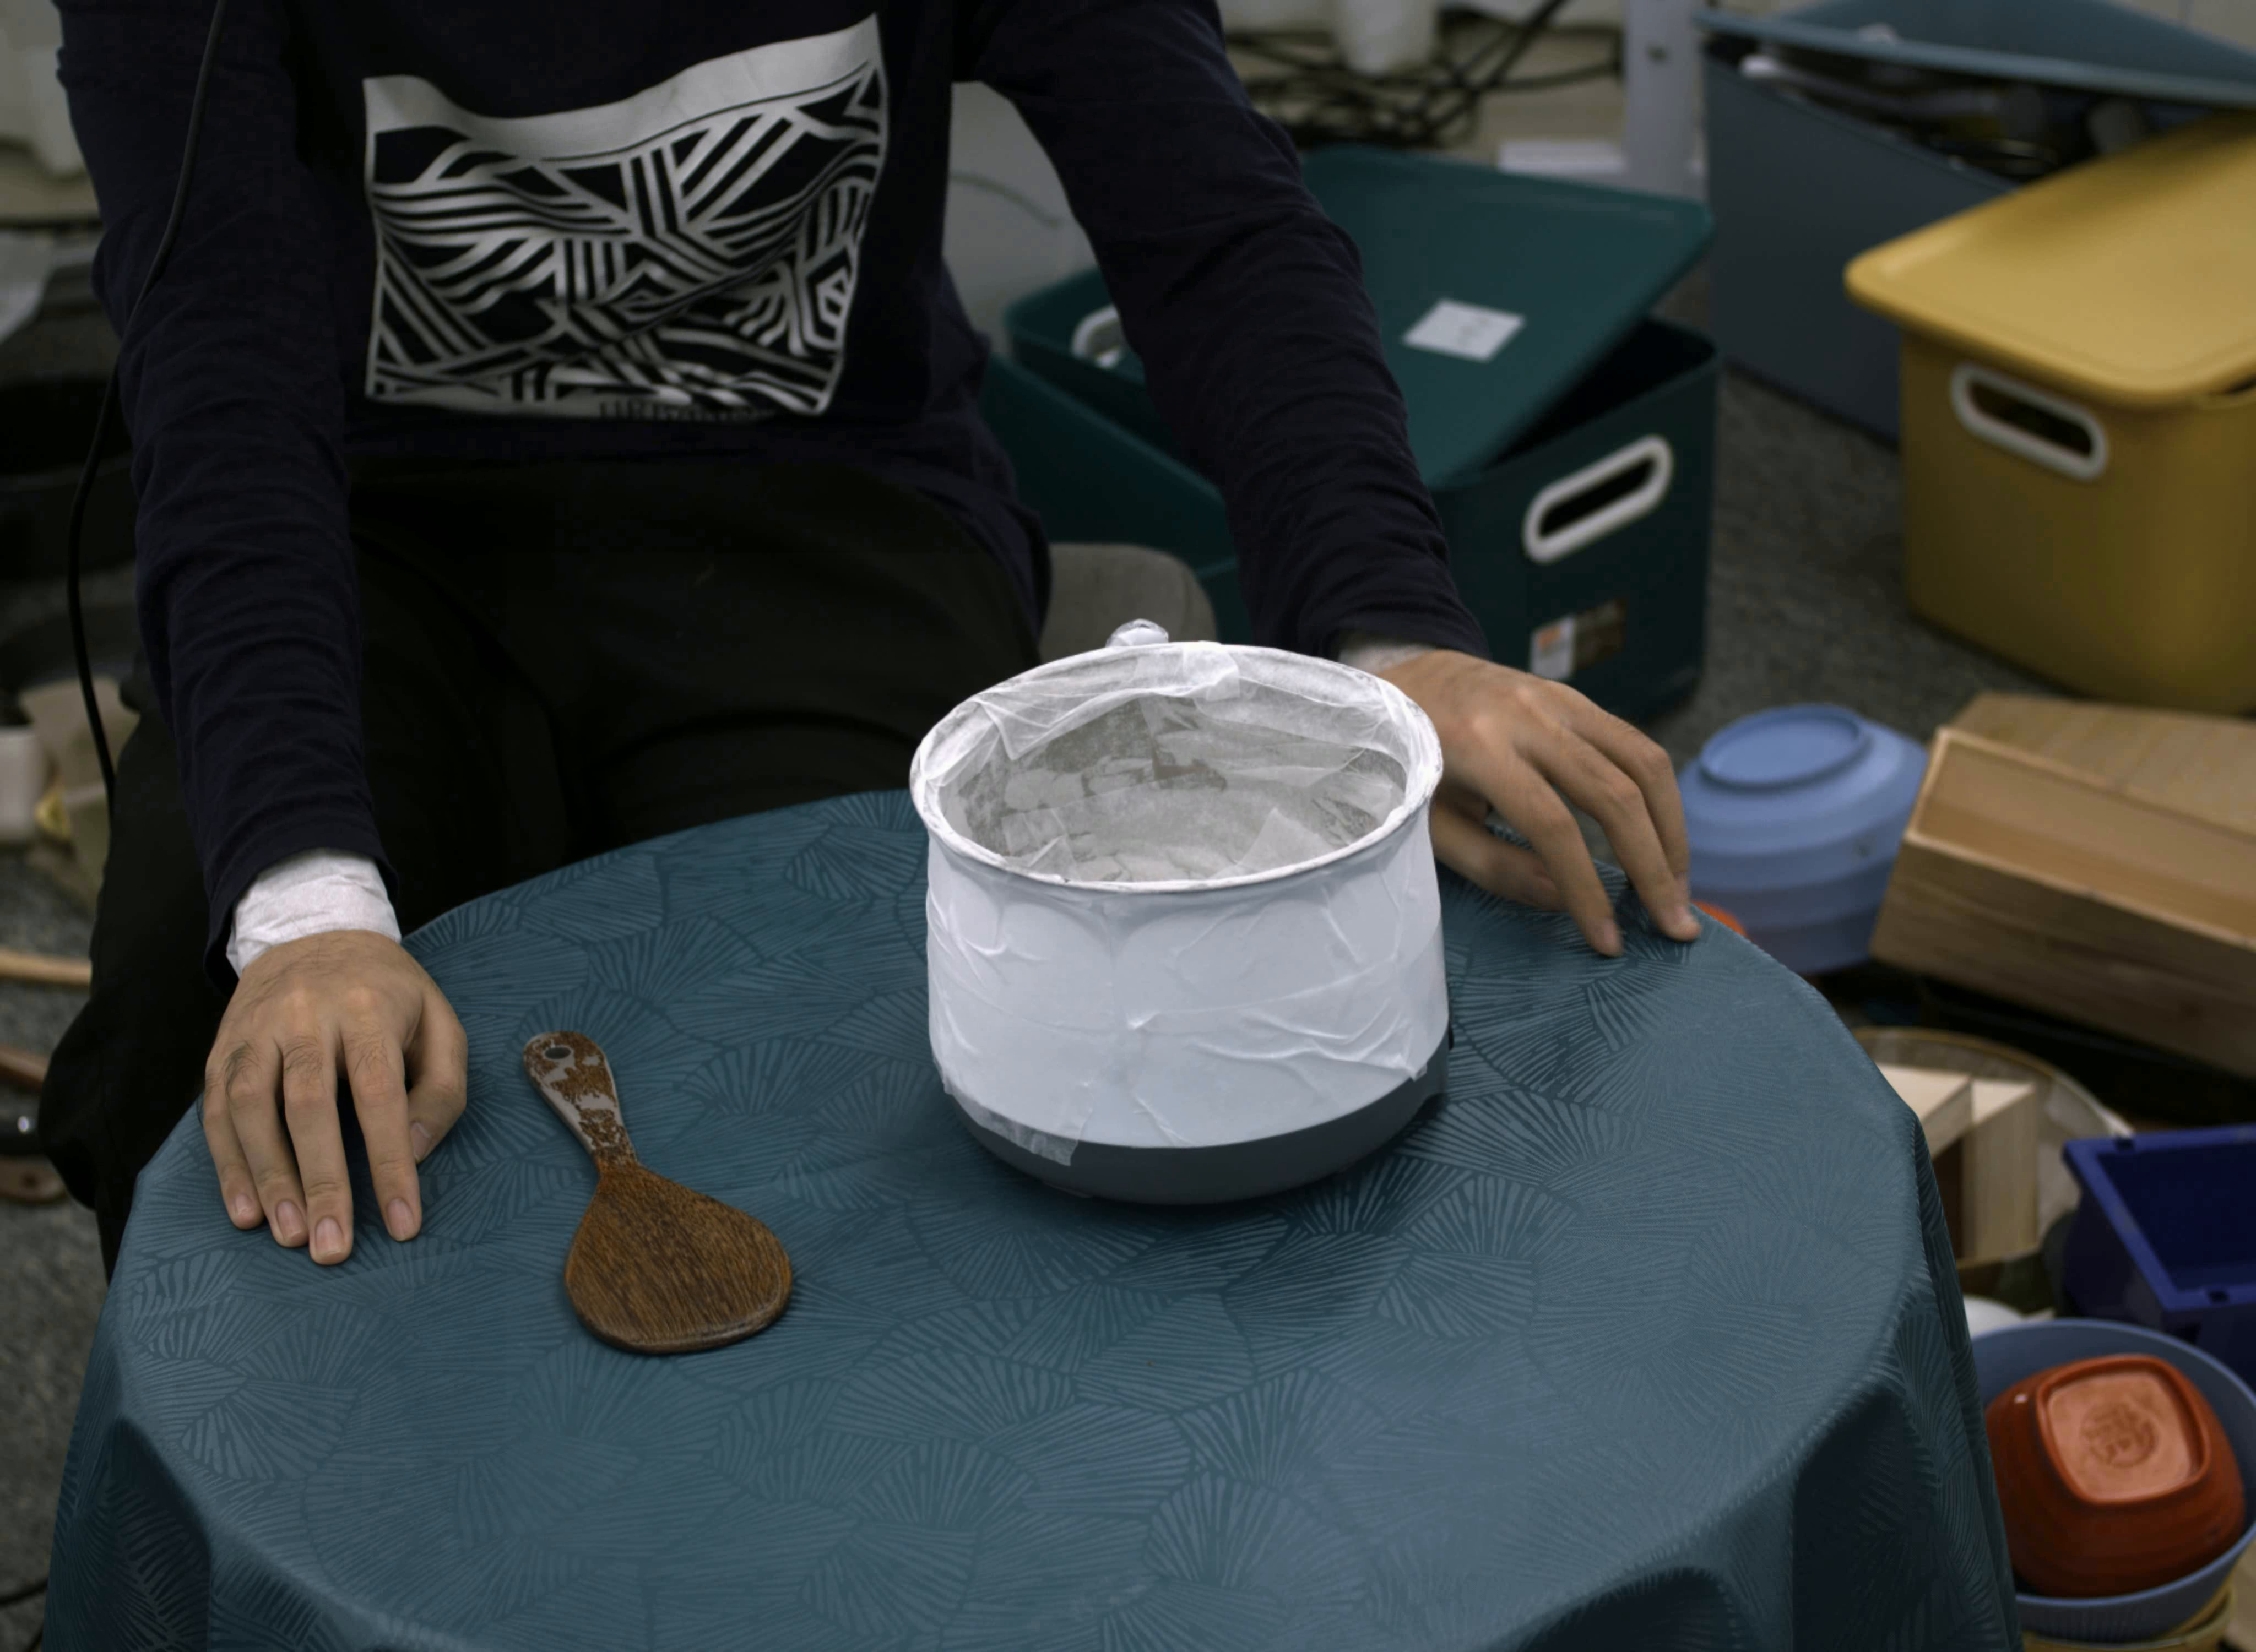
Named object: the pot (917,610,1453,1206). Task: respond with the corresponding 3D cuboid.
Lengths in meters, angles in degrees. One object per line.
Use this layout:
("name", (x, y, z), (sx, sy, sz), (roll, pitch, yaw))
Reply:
("pot", (0.015, 0.020, 1.905), (0.178, 0.135, 0.237), (-4, 28, -8))

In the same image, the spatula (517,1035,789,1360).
("spatula", (-0.168, 0.120, 1.875), (0.072, 0.009, 0.217), (-10, 28, -16))
